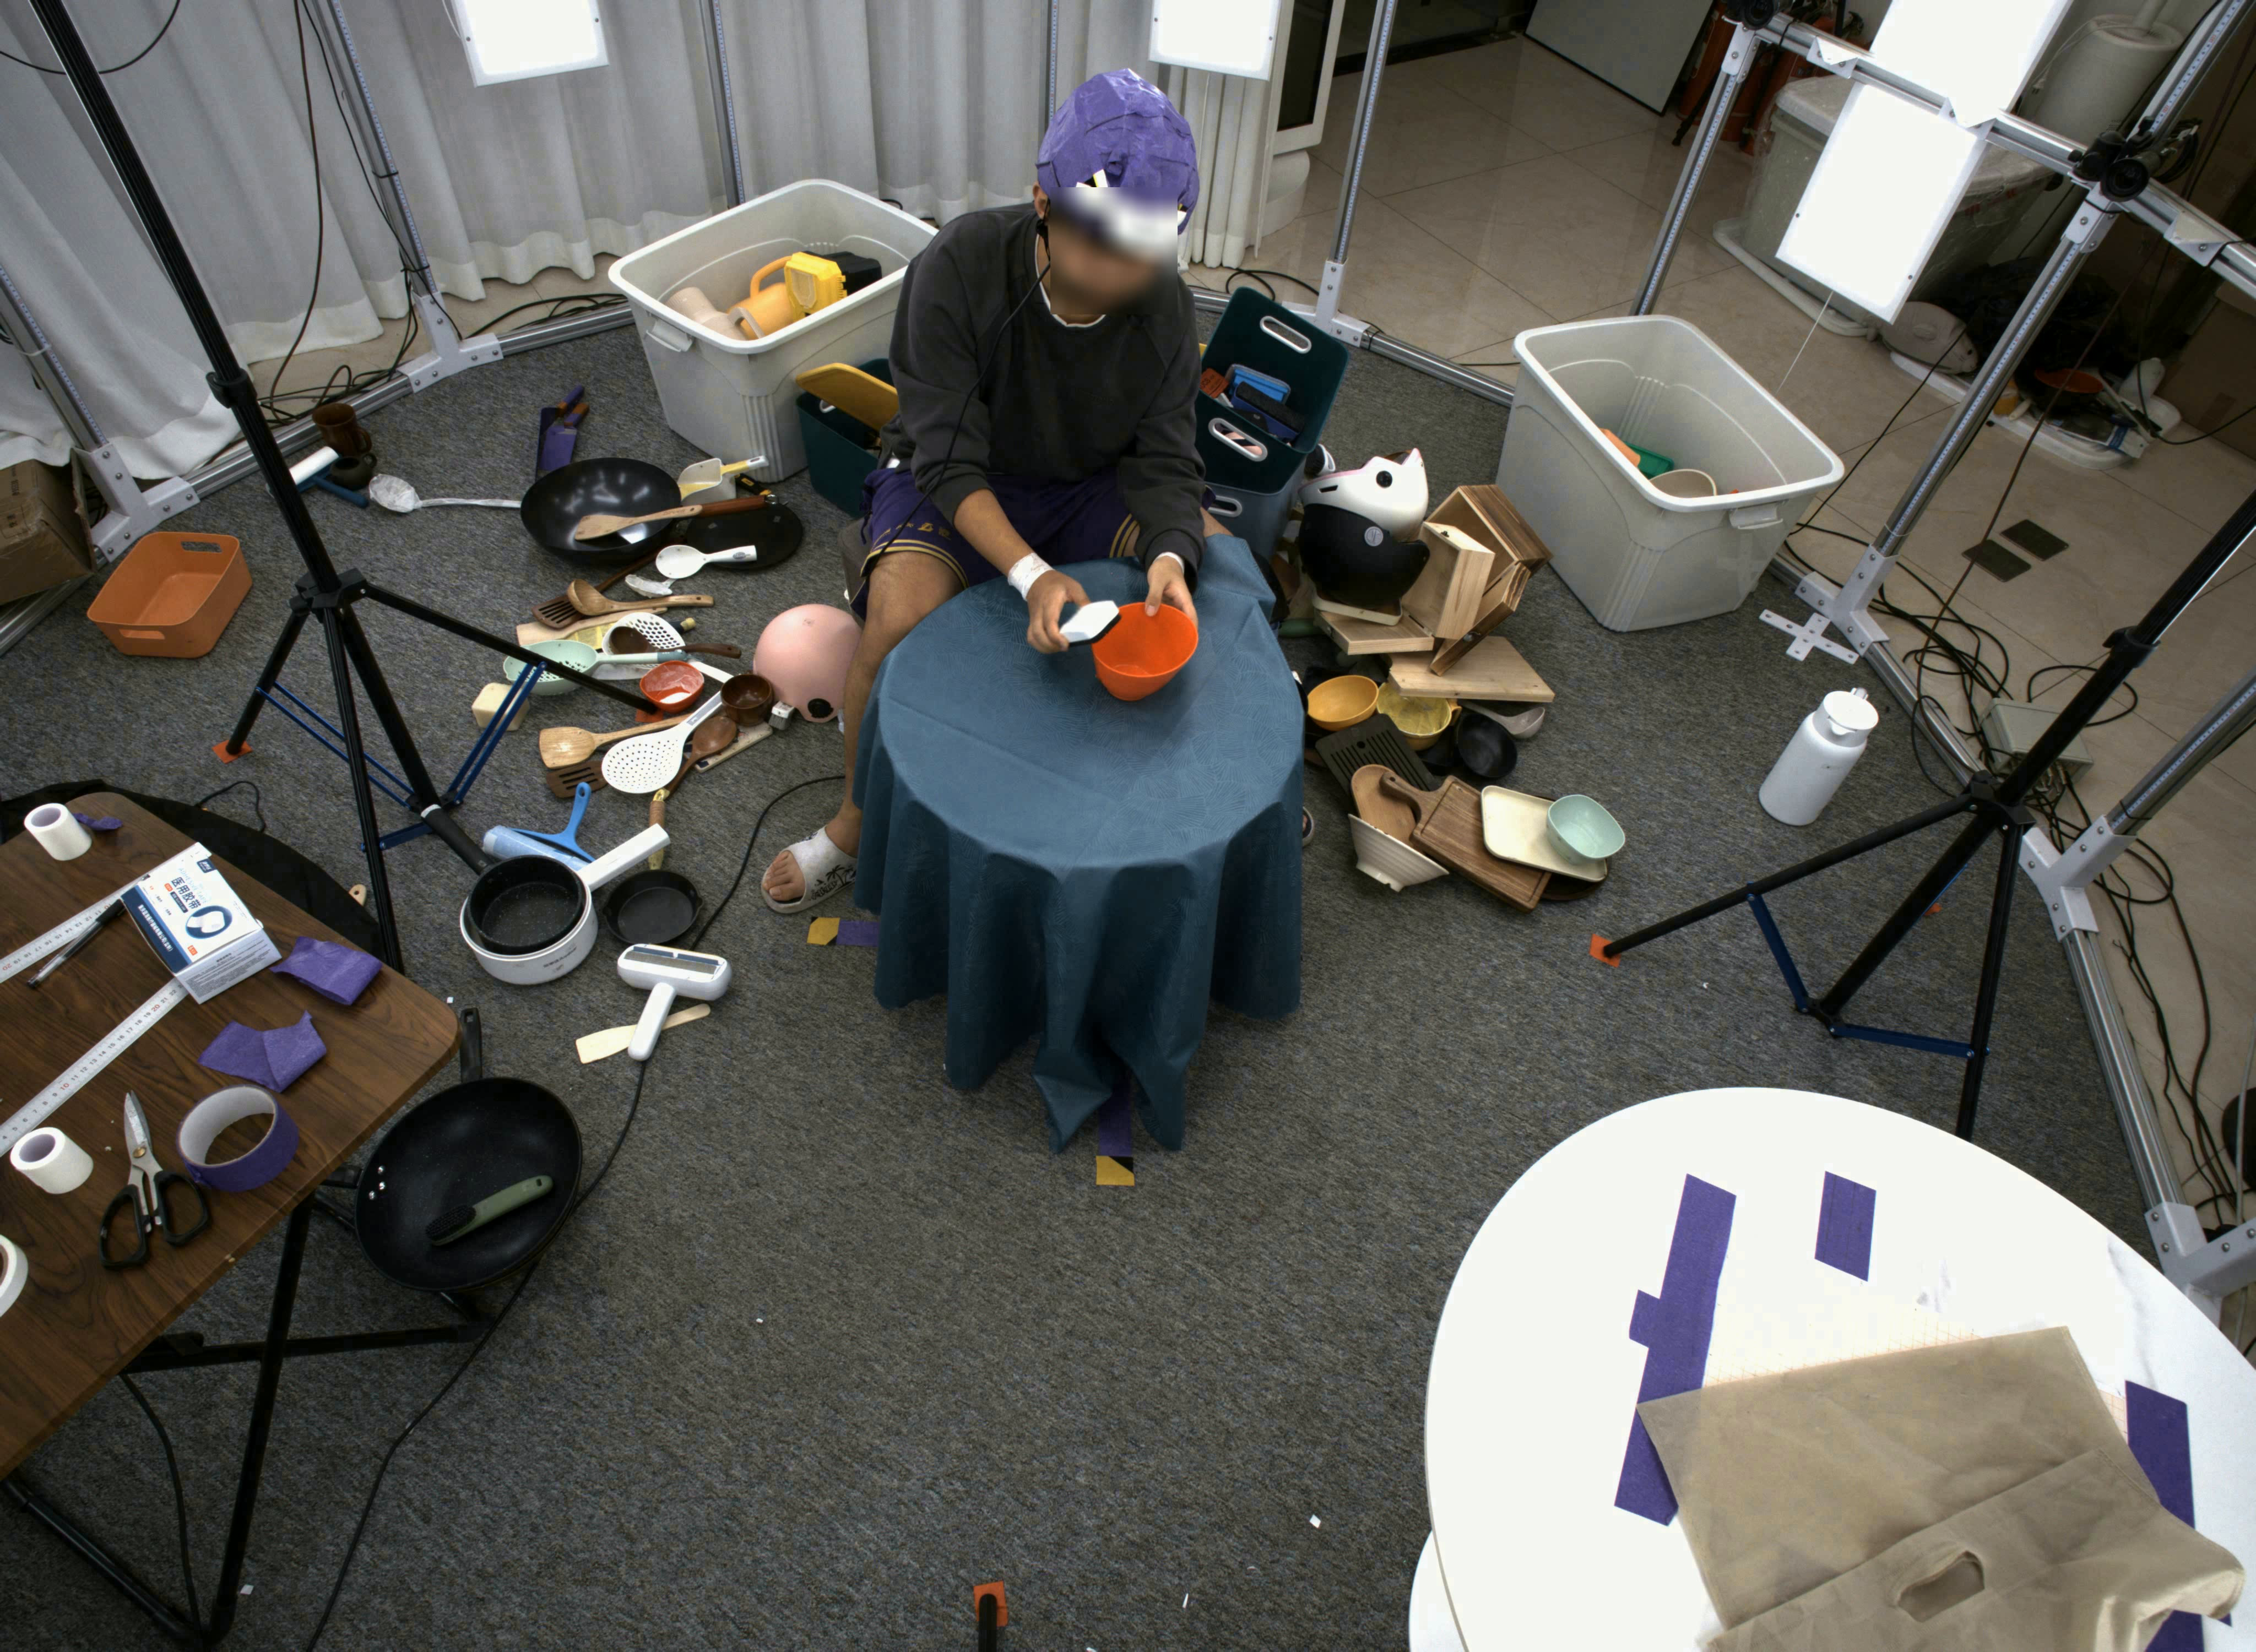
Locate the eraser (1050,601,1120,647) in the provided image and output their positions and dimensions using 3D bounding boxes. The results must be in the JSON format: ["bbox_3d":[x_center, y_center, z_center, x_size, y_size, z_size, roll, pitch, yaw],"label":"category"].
[{"bbox_3d":[-0.060,-0.277,1.766,0.064,0.034,0.132,-44,22,-15],"label":"eraser"}]

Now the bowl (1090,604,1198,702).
[{"bbox_3d":[0.017,-0.233,1.804,0.148,0.102,0.152,4,50,-5],"label":"bowl"}]
